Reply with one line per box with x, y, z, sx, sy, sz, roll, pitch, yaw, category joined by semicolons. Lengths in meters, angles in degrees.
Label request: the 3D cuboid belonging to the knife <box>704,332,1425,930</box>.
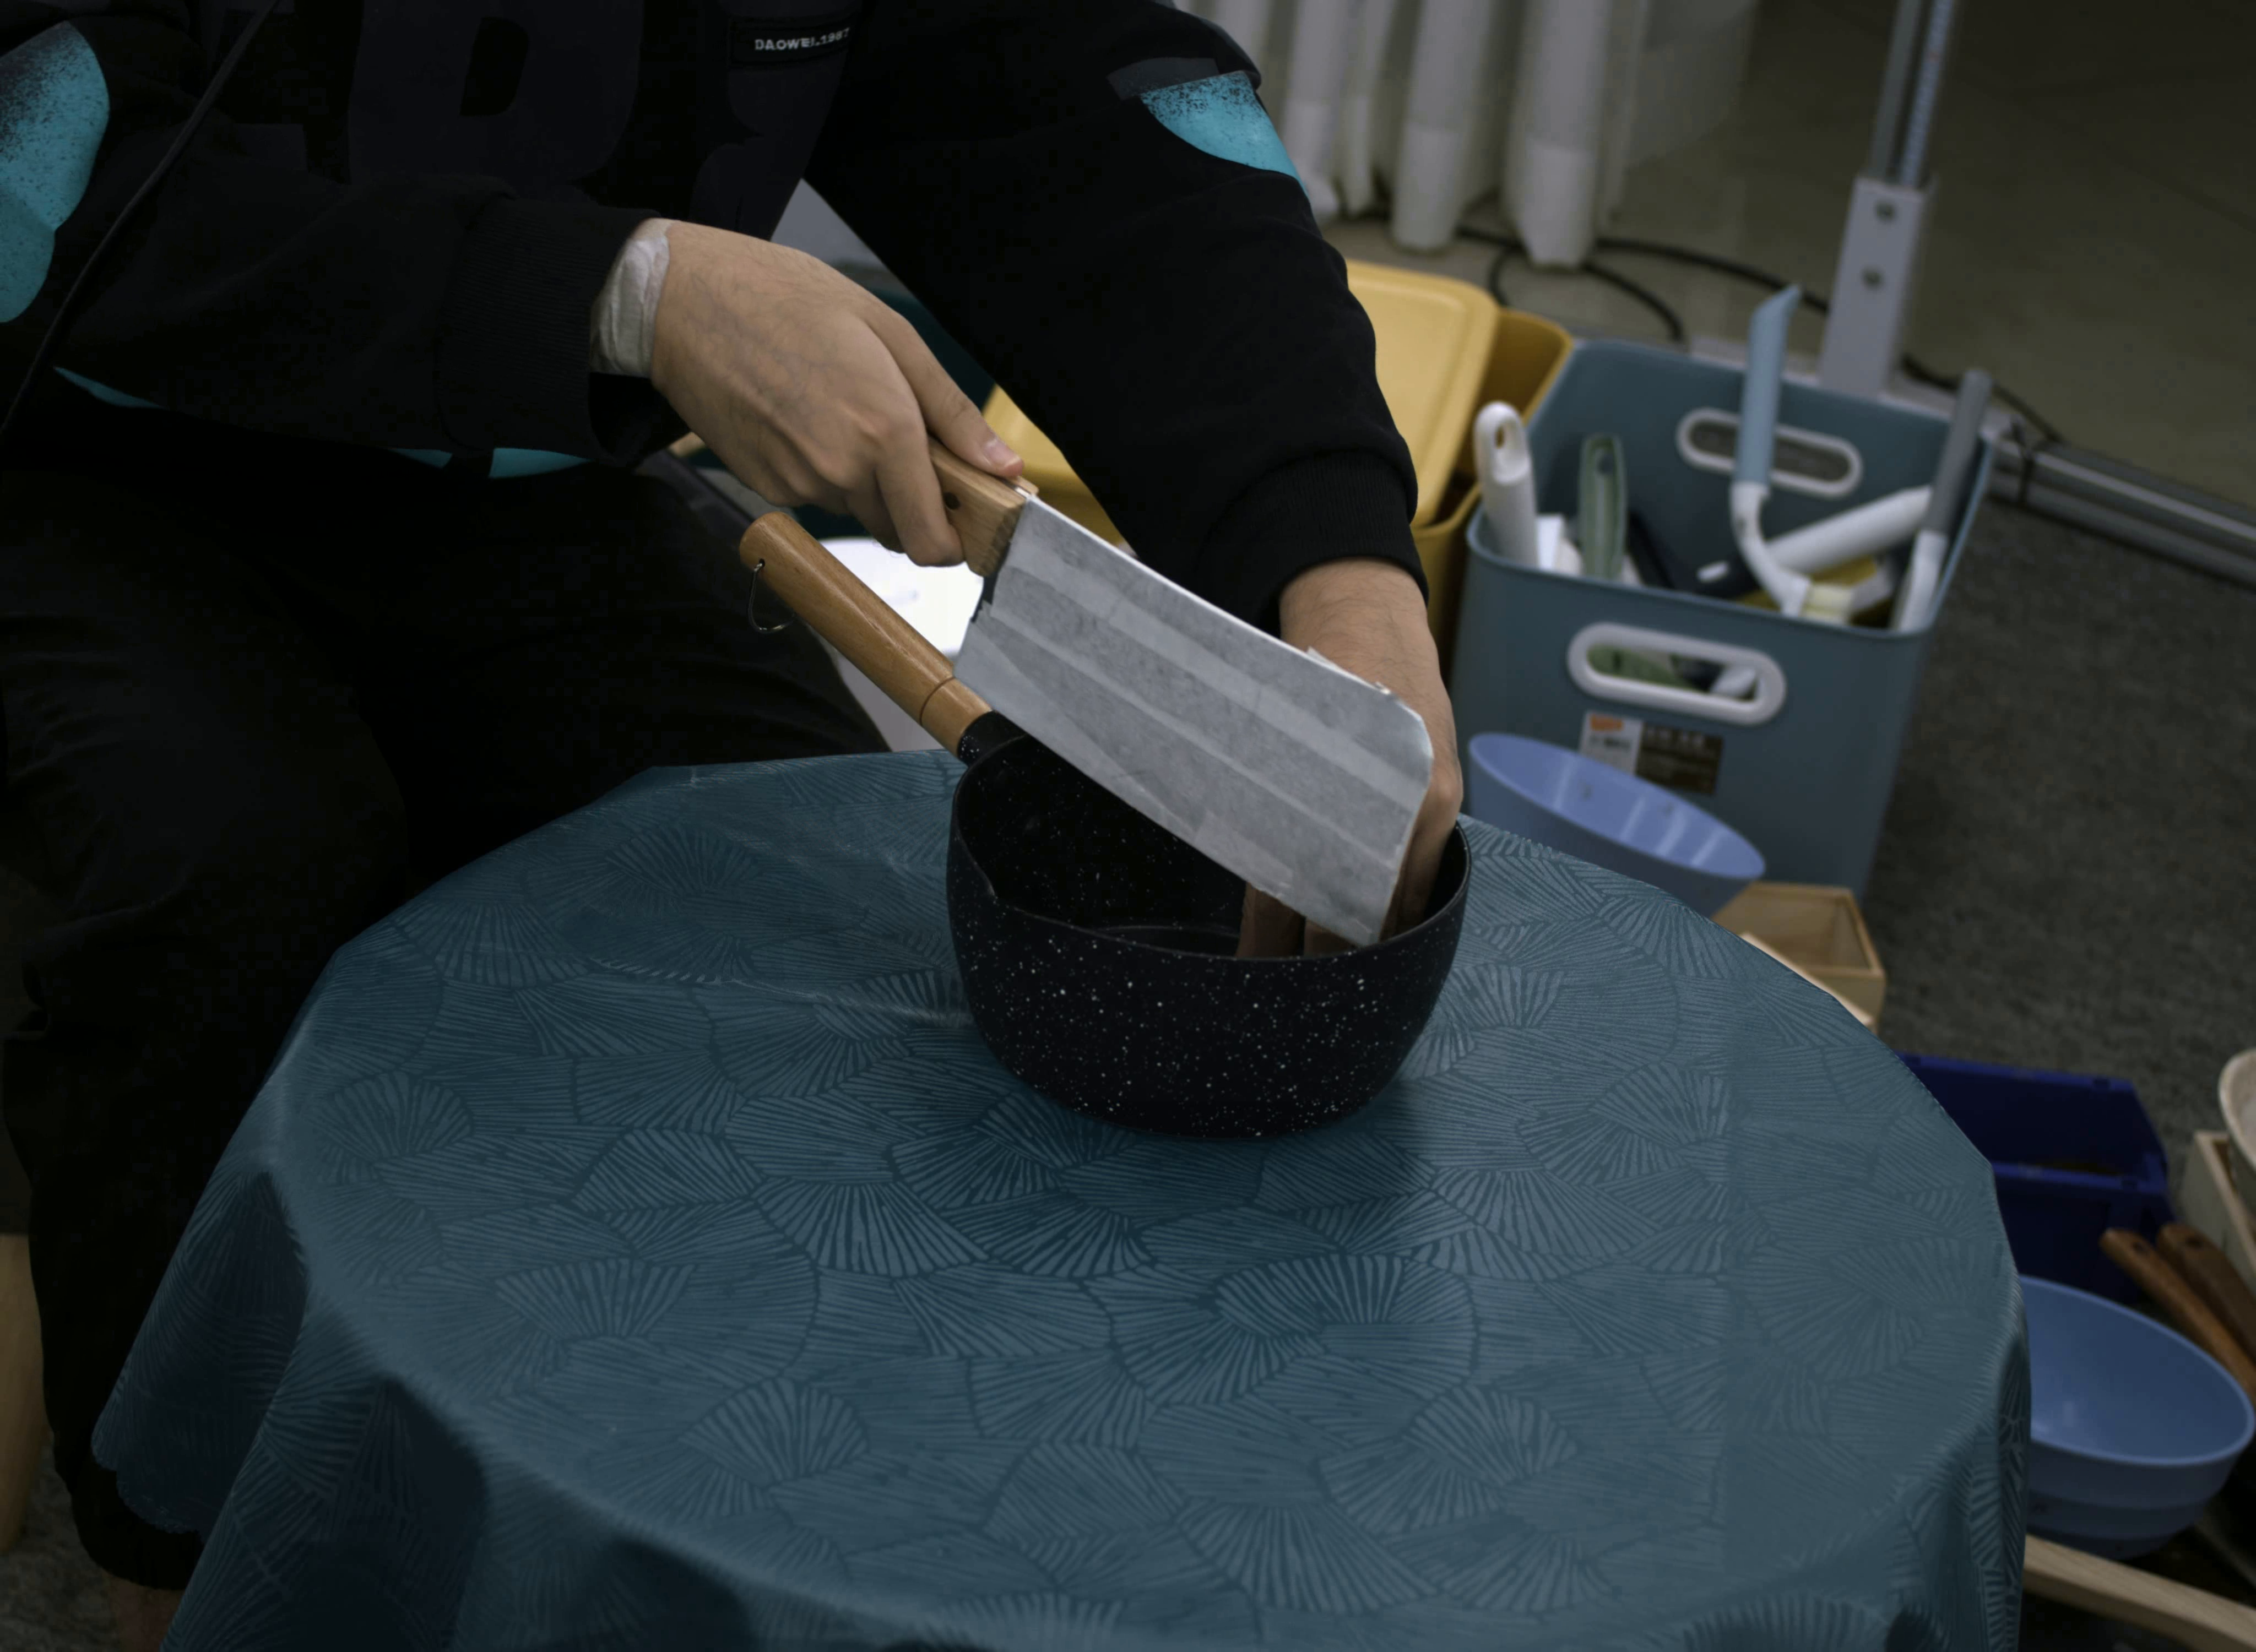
-0.024;-0.077;1.858;0.317;0.113;0.021;36;38;16;knife

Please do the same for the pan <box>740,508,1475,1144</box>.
-0.029;-0.003;1.925;0.206;0.108;0.345;-21;39;-41;pan
